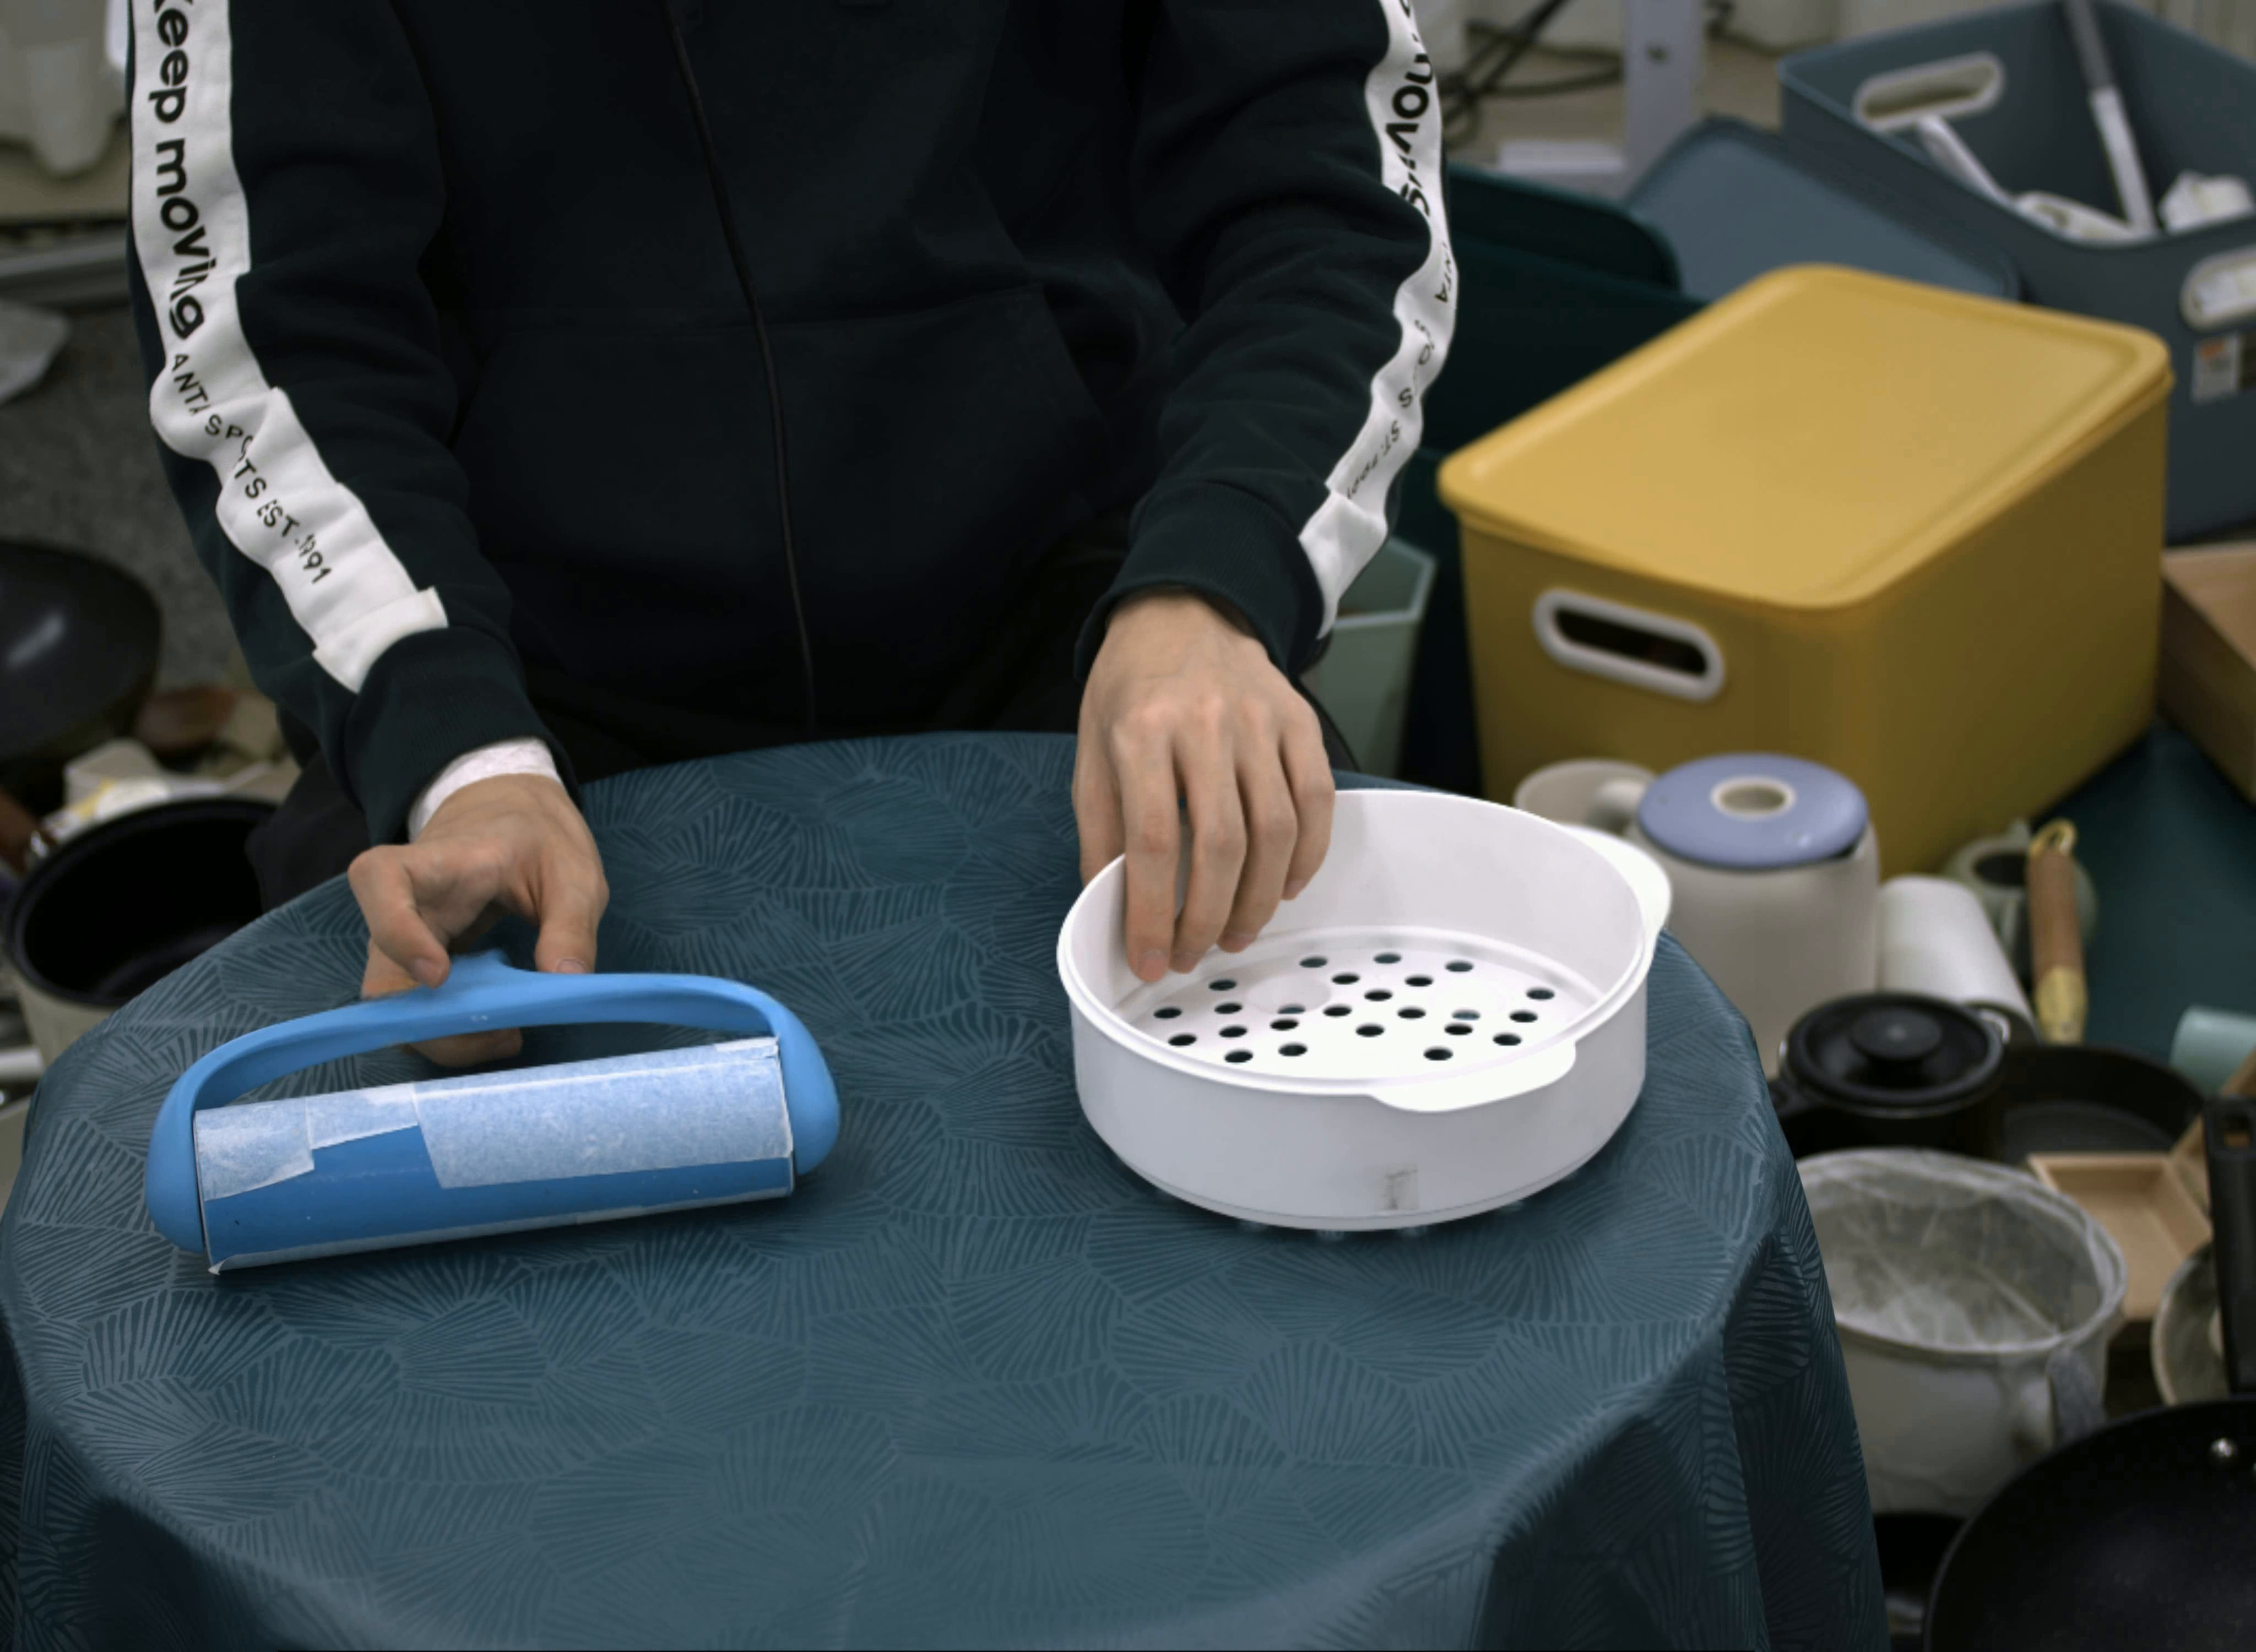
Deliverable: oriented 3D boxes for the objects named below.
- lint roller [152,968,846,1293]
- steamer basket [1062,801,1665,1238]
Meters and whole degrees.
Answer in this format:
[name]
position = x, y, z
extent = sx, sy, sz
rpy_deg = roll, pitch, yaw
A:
[lint roller]
position = -0.220, 0.083, 1.896
extent = 0.229, 0.067, 0.182
rpy_deg = -11, 29, -11
[steamer basket]
position = 0.080, 0.065, 1.888
extent = 0.202, 0.068, 0.232
rpy_deg = -12, 28, -18
